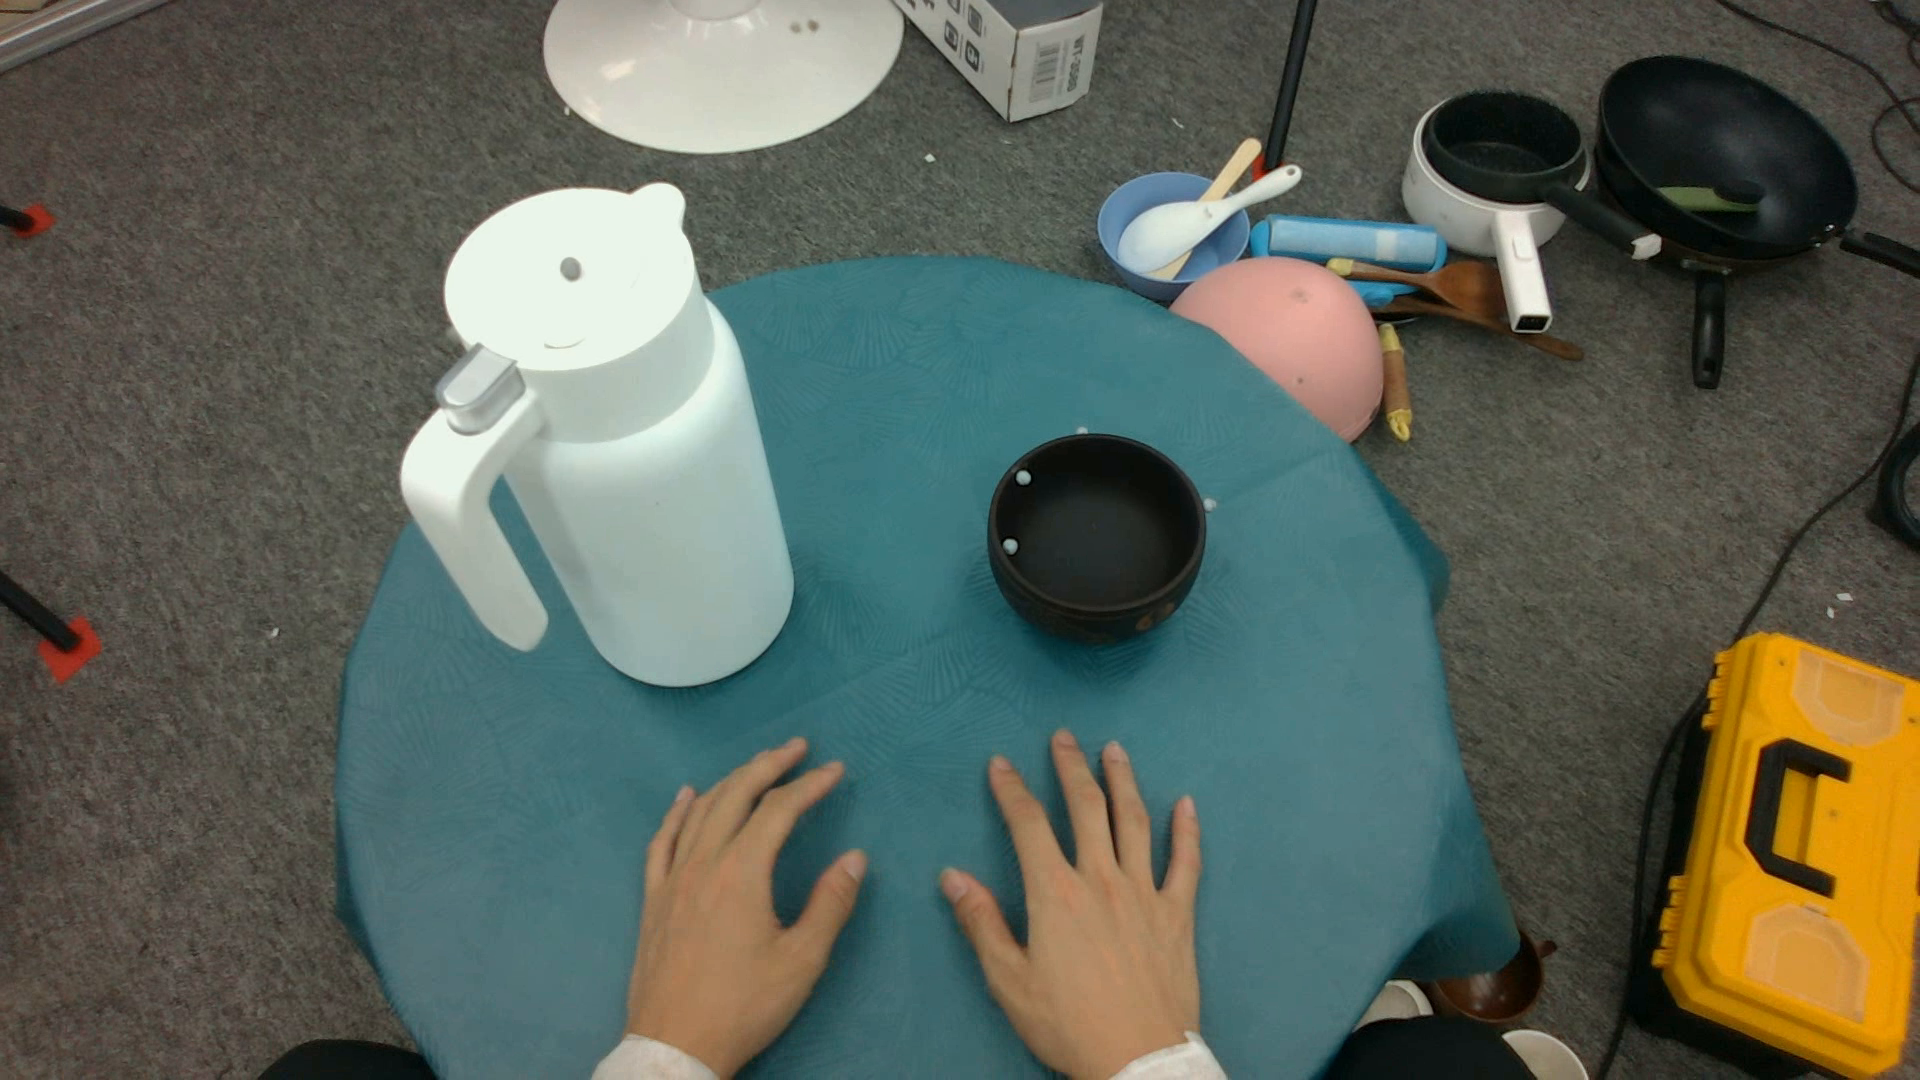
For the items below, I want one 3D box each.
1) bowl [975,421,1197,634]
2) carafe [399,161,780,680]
[{"bbox_3d":[0.067,0.000,0.751,0.118,0.069,0.118,0,56,0],"label":"bowl"},{"bbox_3d":[-0.166,-0.027,0.656,0.124,0.267,0.173,24,61,12],"label":"carafe"}]
